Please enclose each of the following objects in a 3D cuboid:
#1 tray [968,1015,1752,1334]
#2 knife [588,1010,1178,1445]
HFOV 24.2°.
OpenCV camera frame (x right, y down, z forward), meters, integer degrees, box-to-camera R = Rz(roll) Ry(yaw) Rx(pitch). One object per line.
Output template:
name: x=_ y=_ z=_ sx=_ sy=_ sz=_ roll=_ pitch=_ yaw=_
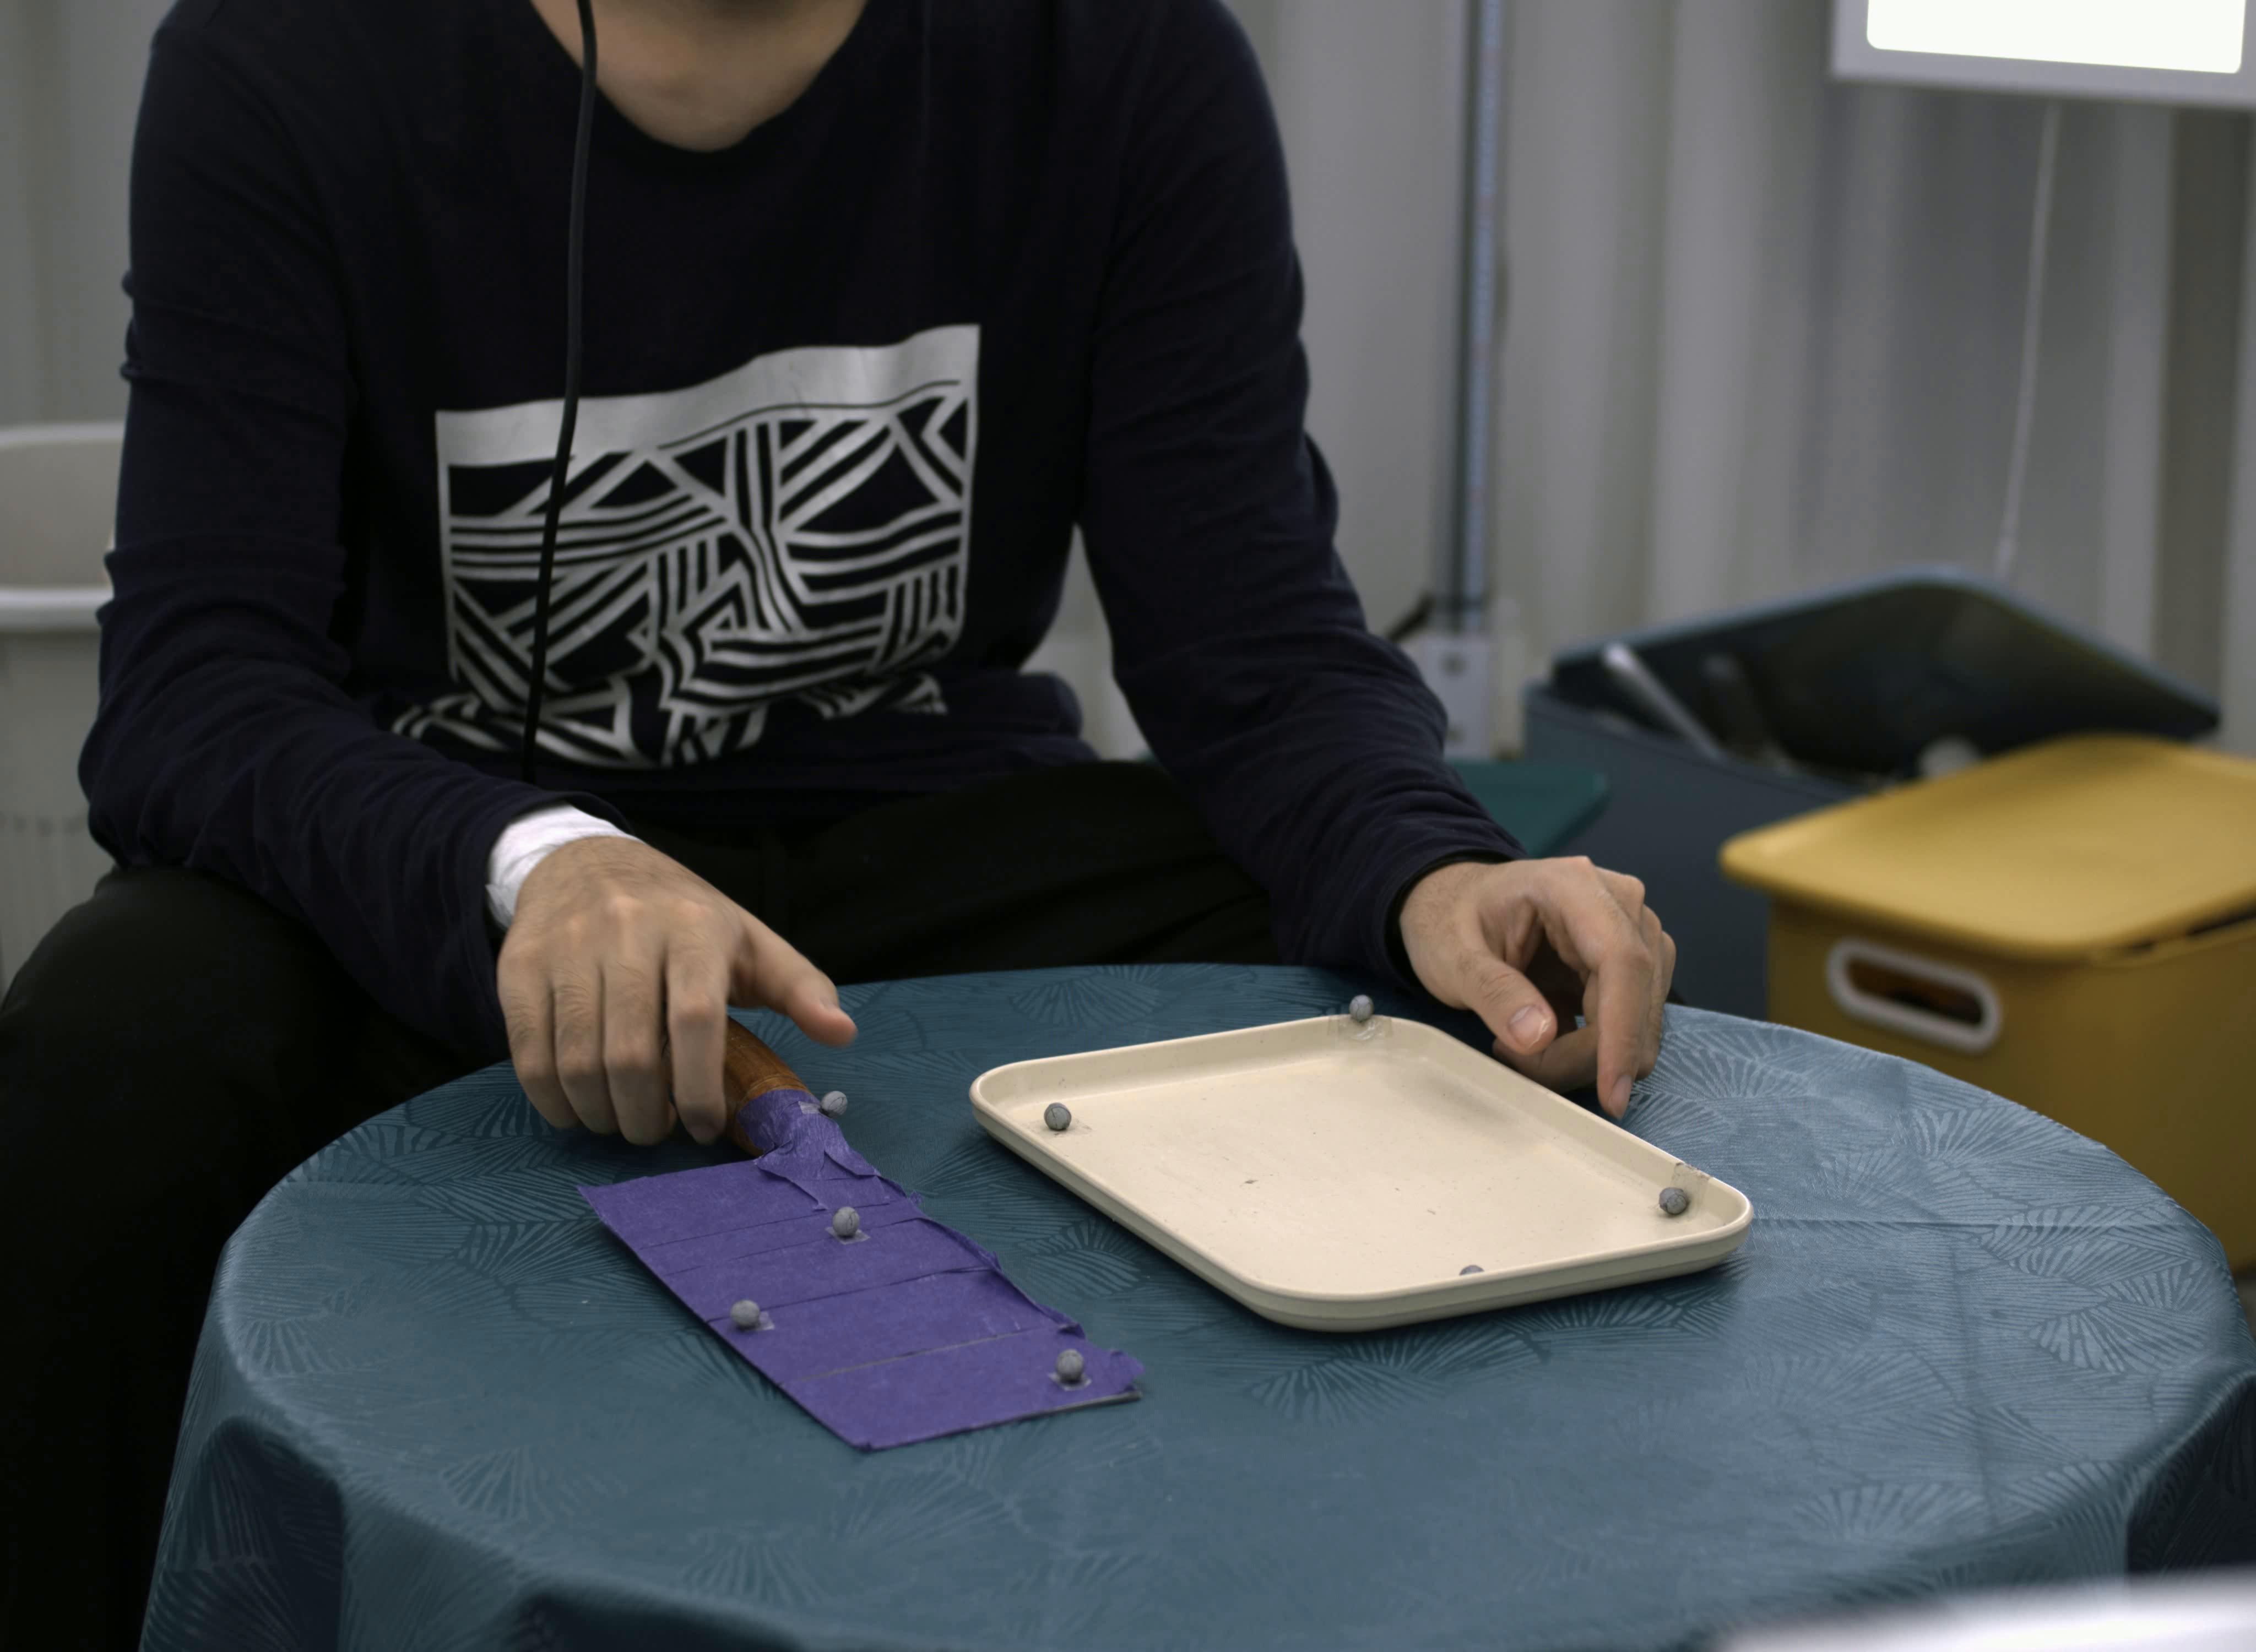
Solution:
tray: x=0.067 y=0.105 z=1.620 sx=0.172 sy=0.017 sz=0.237 roll=-8 pitch=17 yaw=-26
knife: x=-0.102 y=0.115 z=1.562 sx=0.104 sy=0.032 sz=0.311 roll=-7 pitch=18 yaw=-27
